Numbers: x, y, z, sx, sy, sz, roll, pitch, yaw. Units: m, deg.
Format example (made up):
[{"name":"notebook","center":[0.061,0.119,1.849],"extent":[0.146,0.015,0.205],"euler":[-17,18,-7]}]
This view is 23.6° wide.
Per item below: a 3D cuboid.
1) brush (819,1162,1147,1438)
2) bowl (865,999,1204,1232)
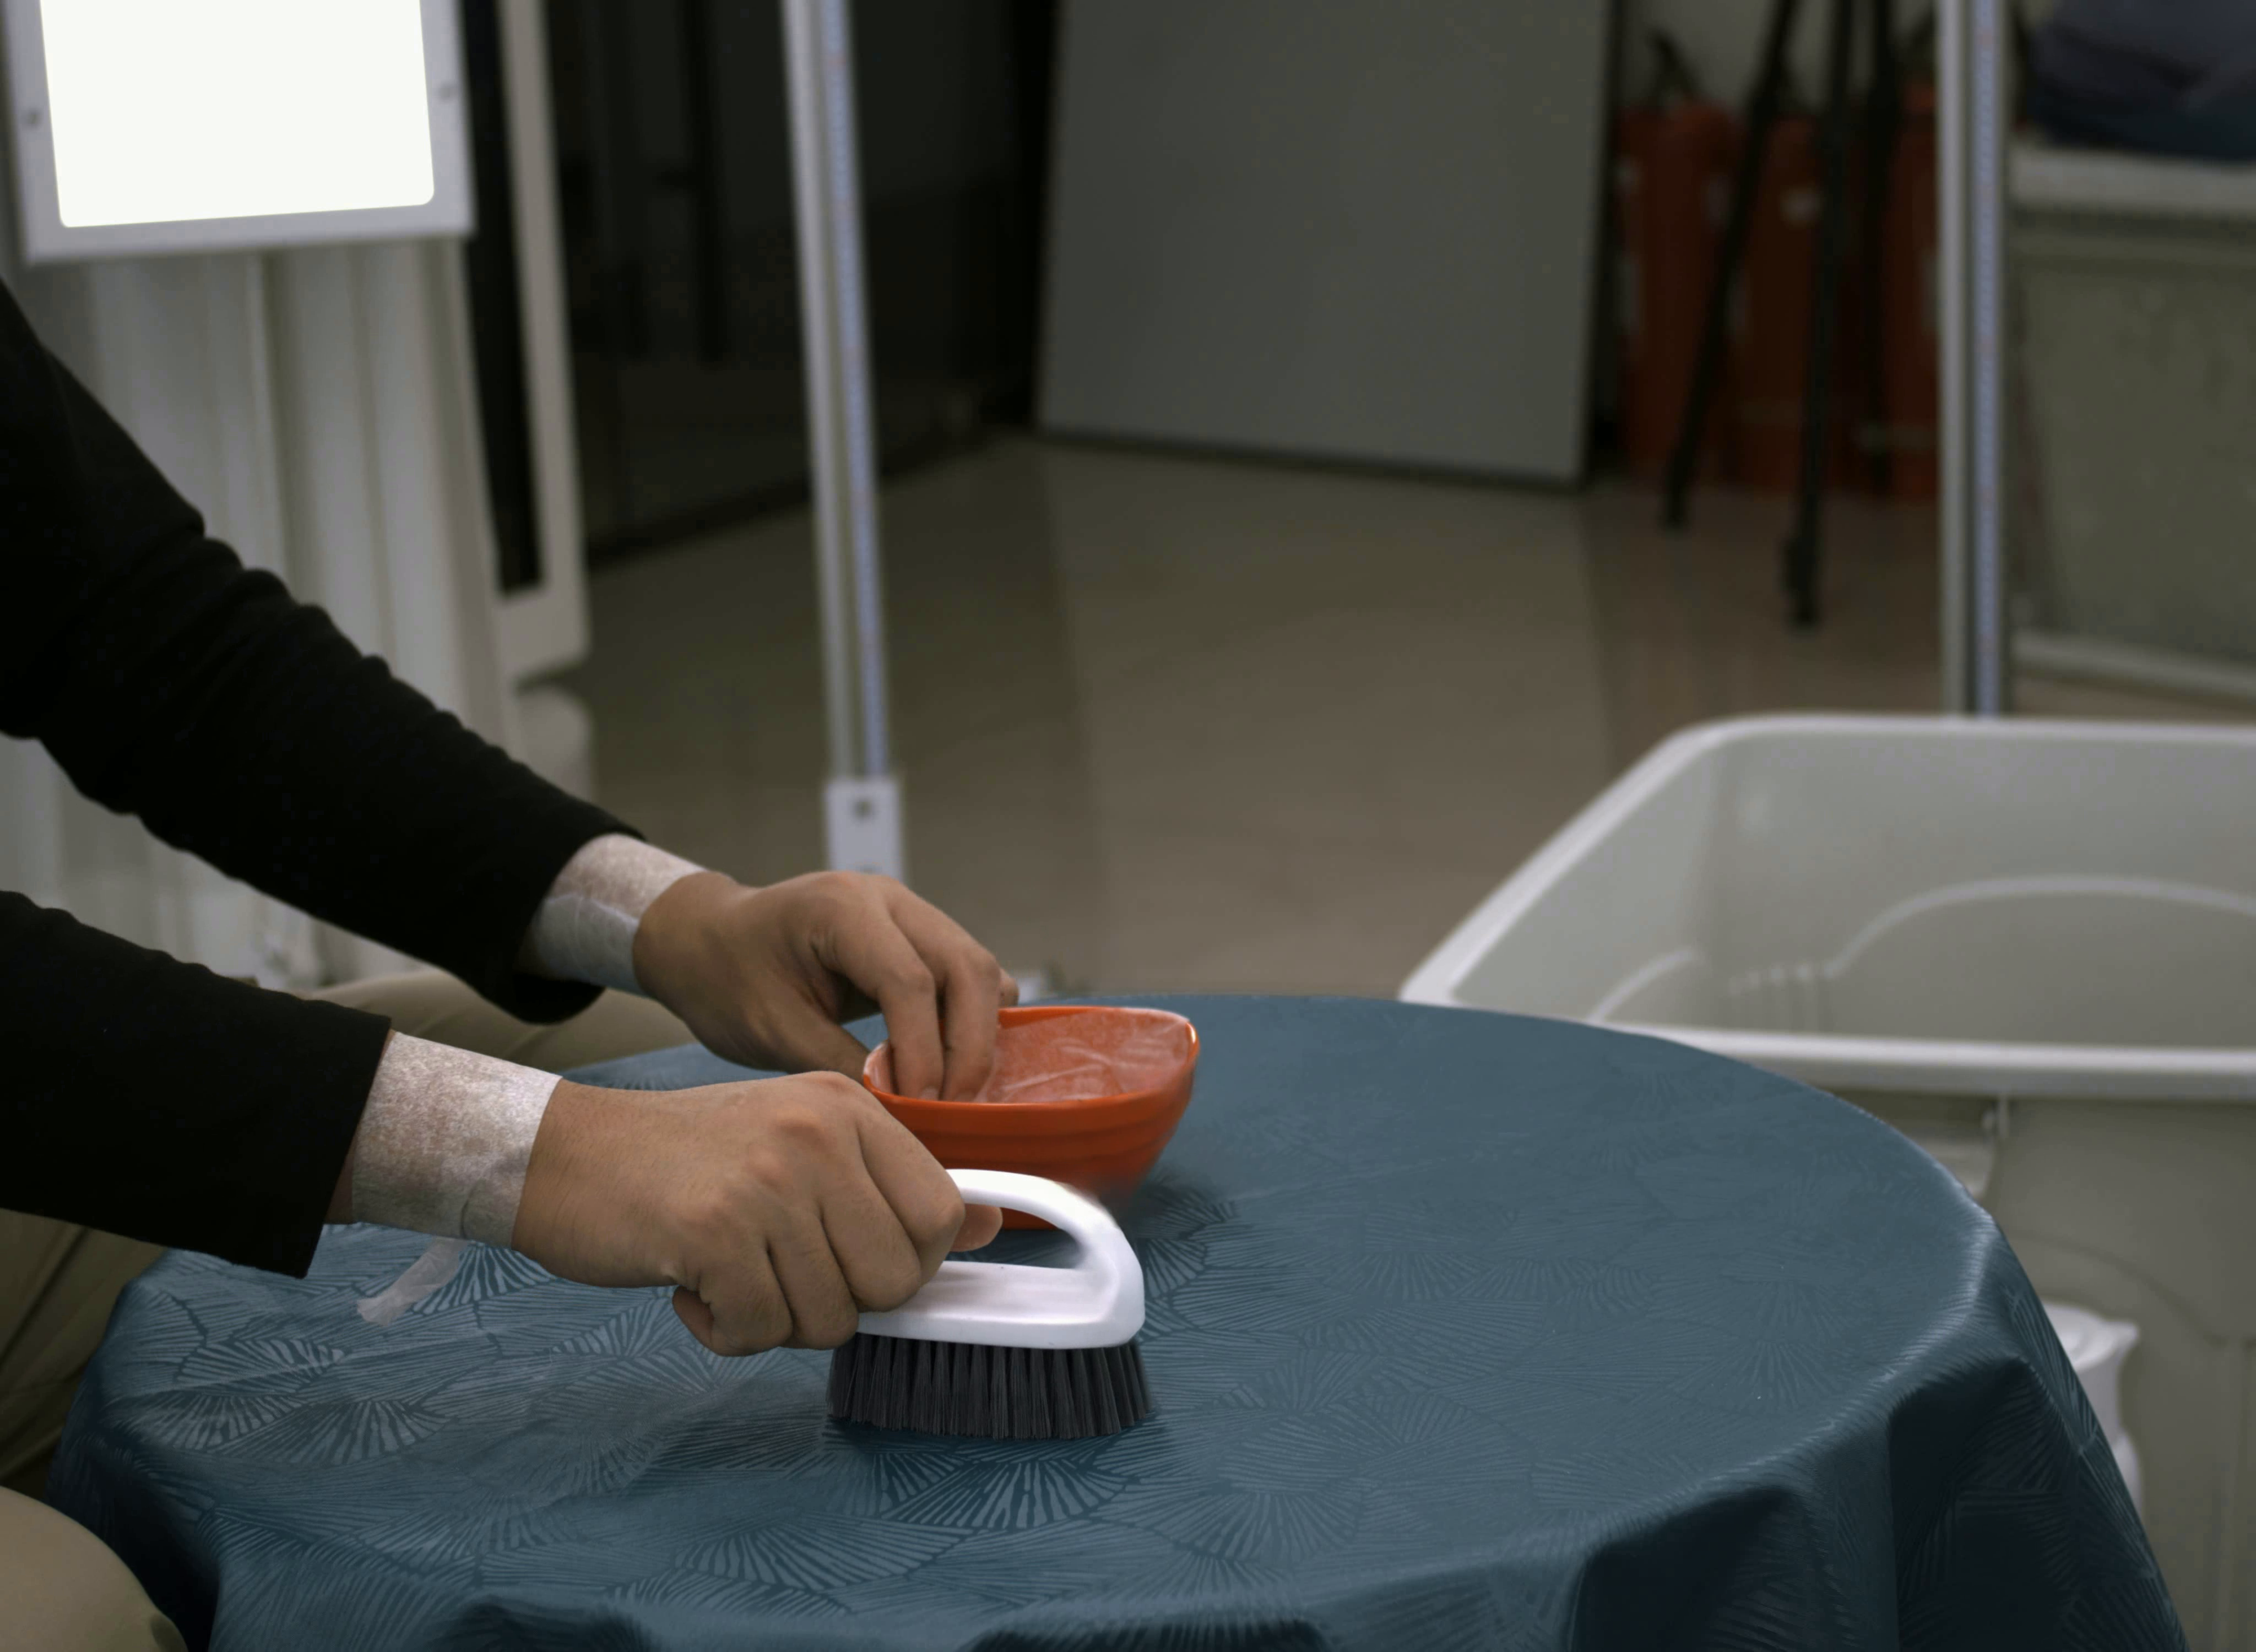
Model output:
[{"name":"brush","center":[-0.044,0.134,1.572],"extent":[0.099,0.073,0.049],"euler":[2,15,23]},{"name":"bowl","center":[-0.030,0.097,1.764],"extent":[0.117,0.052,0.119],"euler":[-2,16,0]}]
